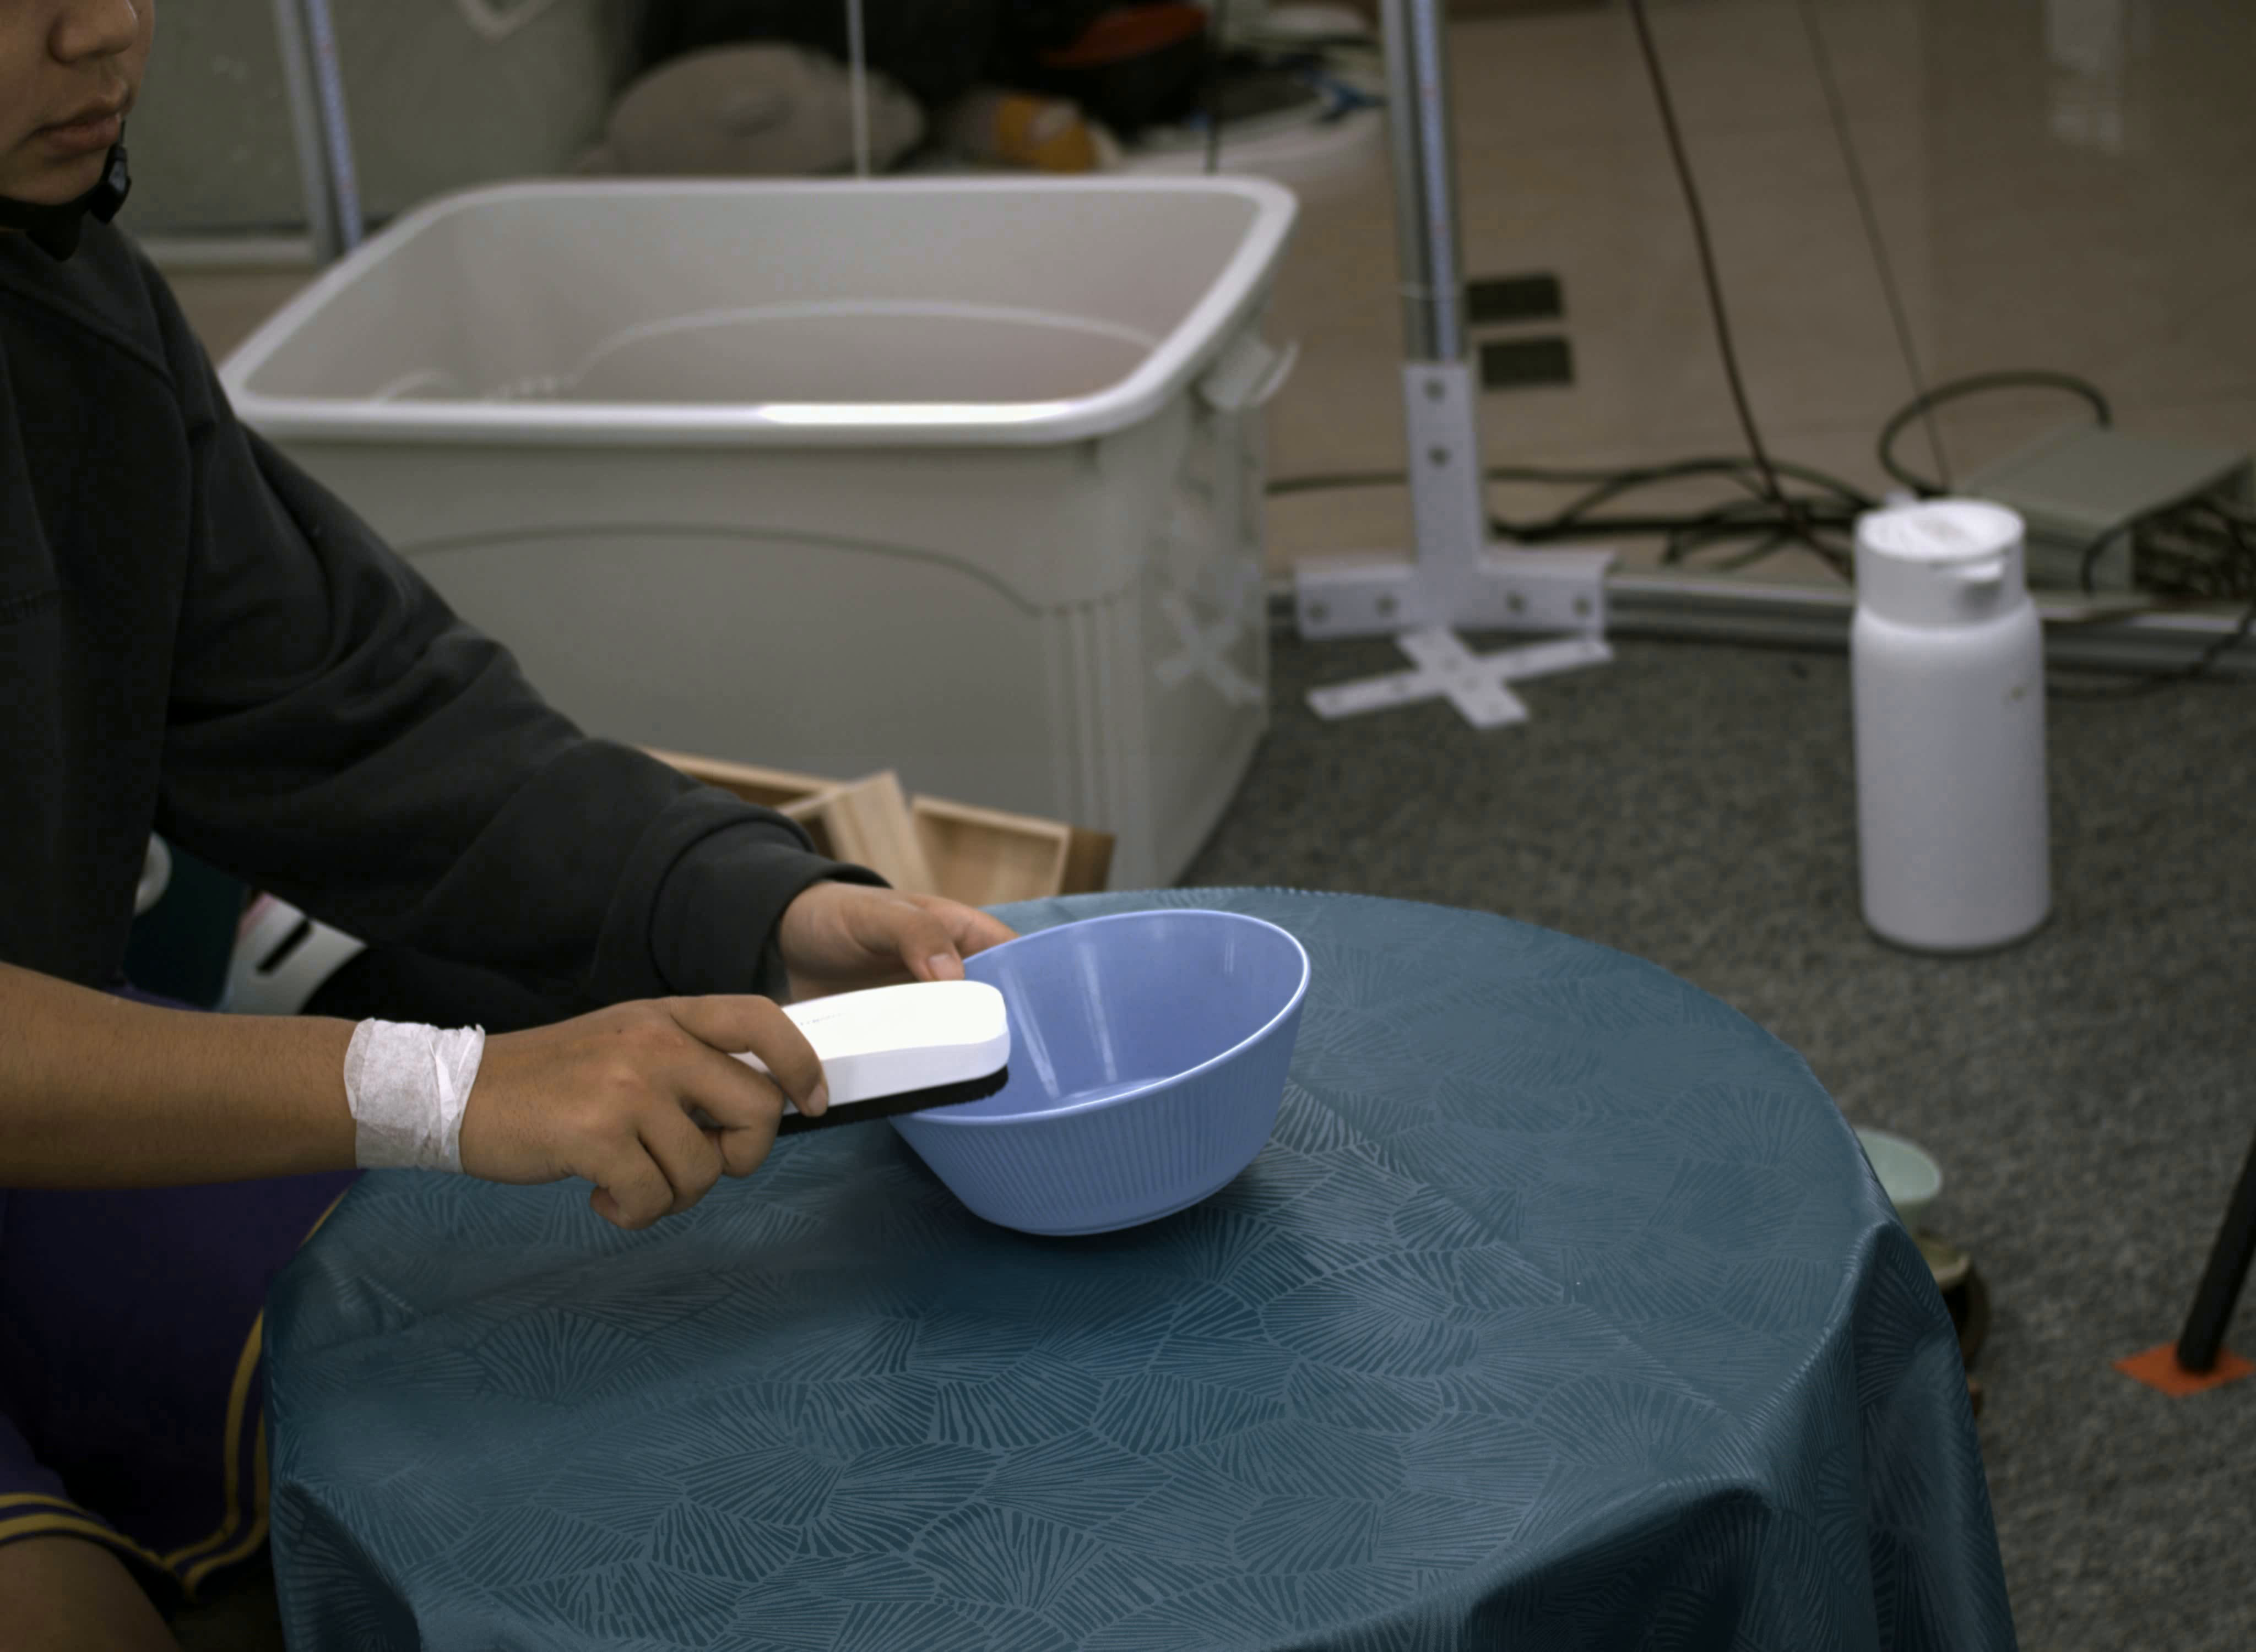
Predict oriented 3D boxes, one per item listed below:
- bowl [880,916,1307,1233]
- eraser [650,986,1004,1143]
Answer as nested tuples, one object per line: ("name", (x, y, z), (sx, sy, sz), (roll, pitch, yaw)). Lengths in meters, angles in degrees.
("bowl", (-0.012, 0.099, 2.135), (0.176, 0.071, 0.174), (-11, 21, 5))
("eraser", (-0.110, 0.085, 2.095), (0.131, 0.035, 0.062), (-8, 20, 1))
